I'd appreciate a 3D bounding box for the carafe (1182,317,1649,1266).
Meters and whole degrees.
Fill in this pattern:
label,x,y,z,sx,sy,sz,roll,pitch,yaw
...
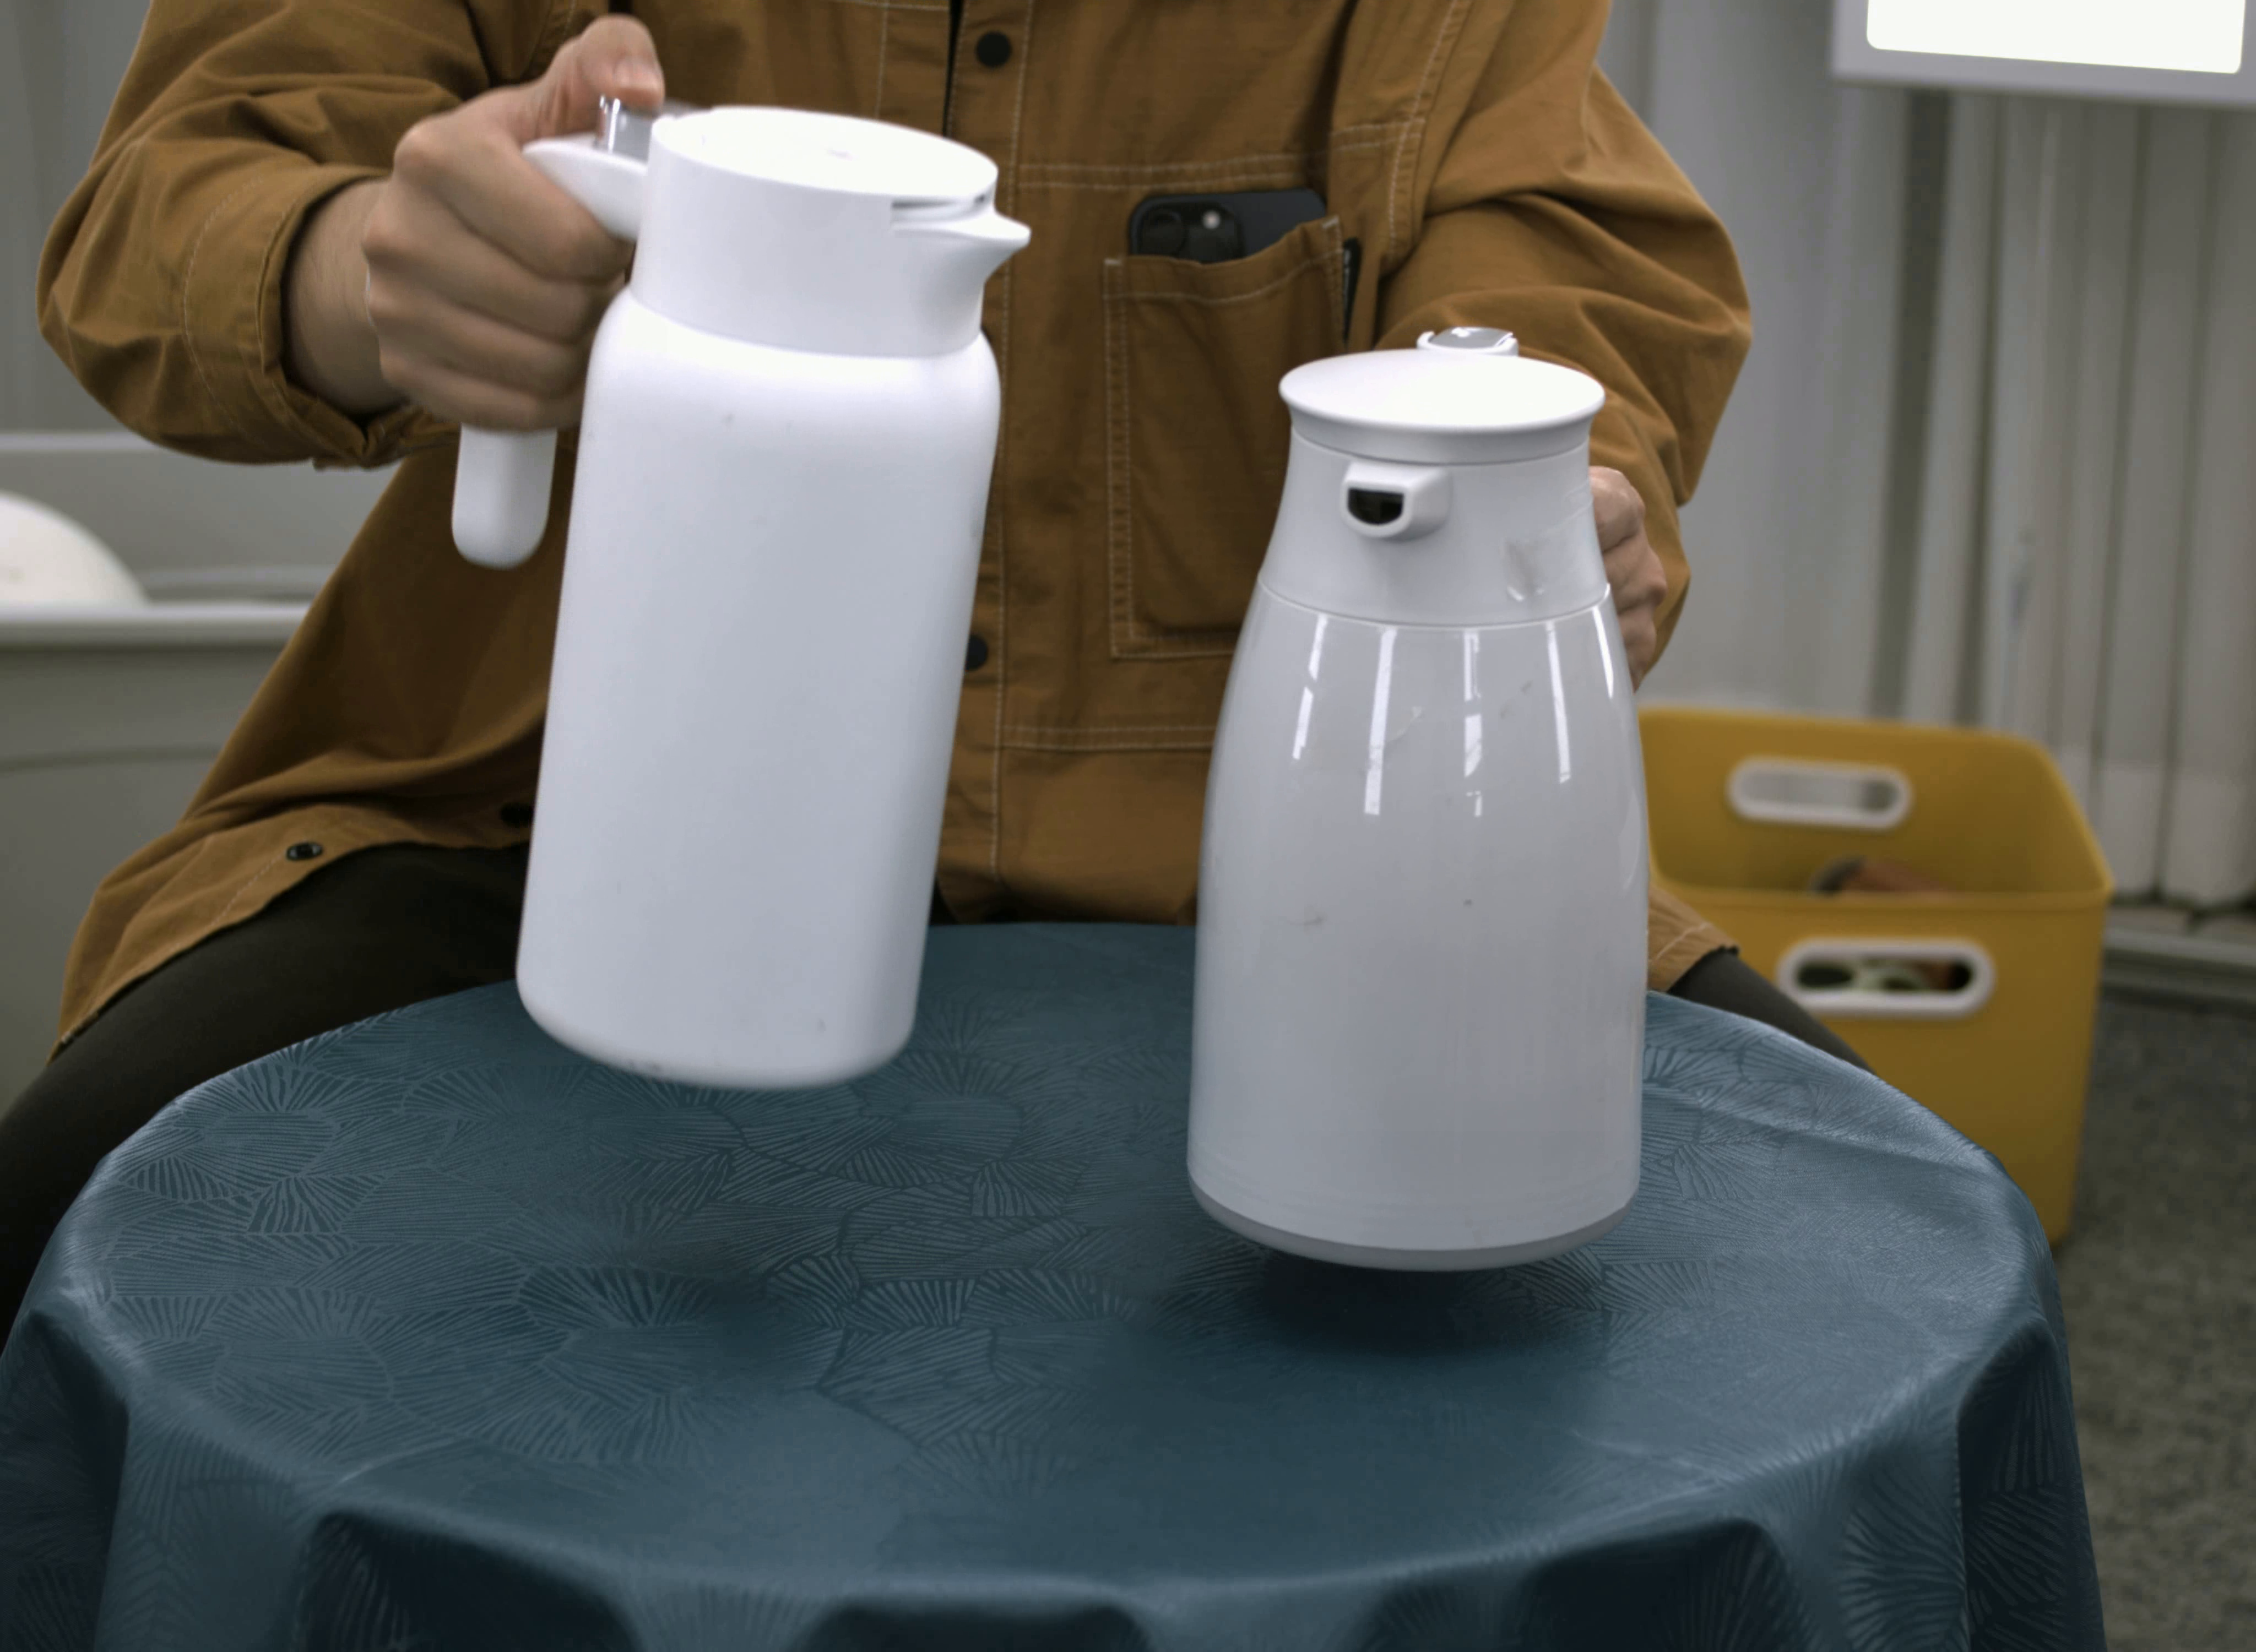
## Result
label,x,y,z,sx,sy,sz,roll,pitch,yaw
carafe,0.090,-0.019,1.516,0.131,0.251,0.167,7,18,16

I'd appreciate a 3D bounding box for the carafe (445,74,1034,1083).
label,x,y,z,sx,sy,sz,roll,pitch,yaw
carafe,-0.119,-0.073,1.499,0.171,0.271,0.124,18,22,25
